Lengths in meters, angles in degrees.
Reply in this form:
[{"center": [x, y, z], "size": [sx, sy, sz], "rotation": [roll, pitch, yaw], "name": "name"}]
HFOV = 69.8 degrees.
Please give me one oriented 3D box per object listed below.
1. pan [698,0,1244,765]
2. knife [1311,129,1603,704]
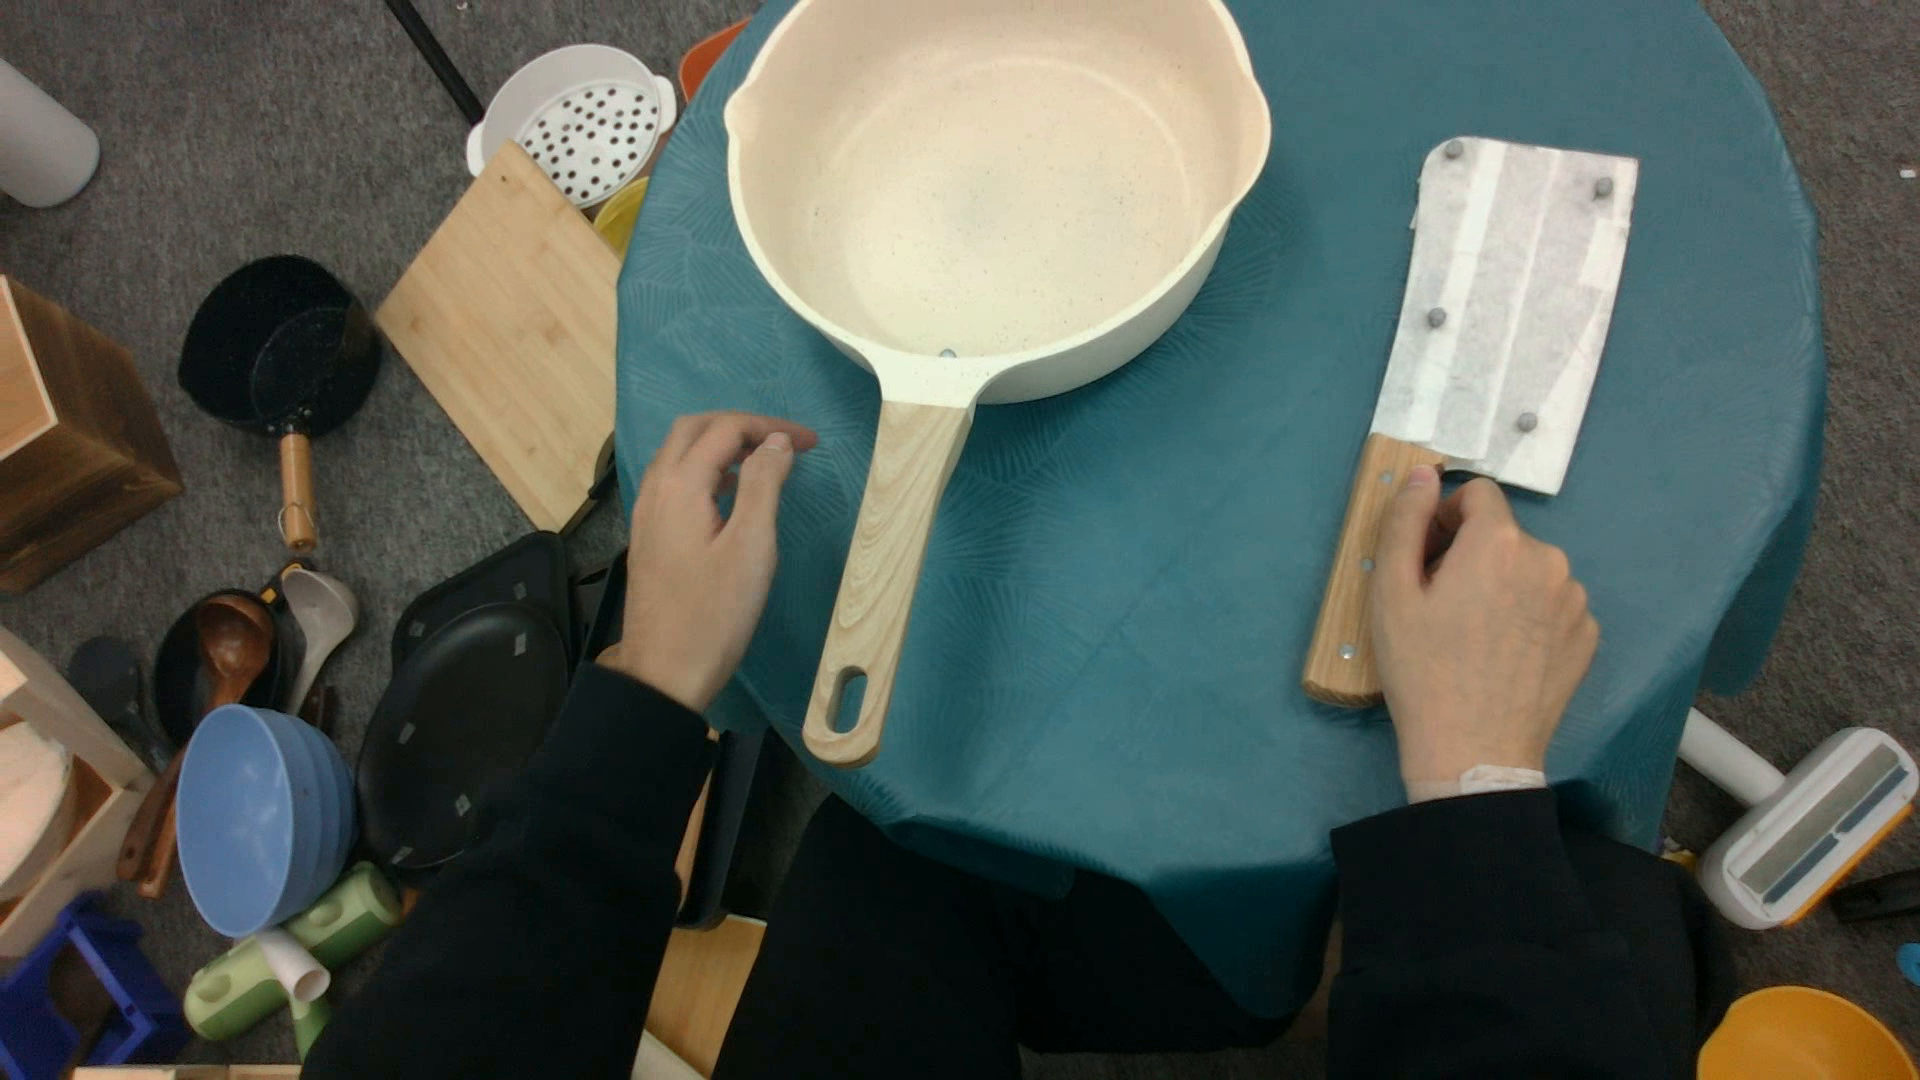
[{"center": [-0.009, -0.104, 0.654], "size": [0.263, 0.102, 0.436], "rotation": [6, 72, 10], "name": "pan"}, {"center": [0.224, -0.070, 0.645], "size": [0.114, 0.021, 0.316], "rotation": [19, 72, 15], "name": "knife"}]
